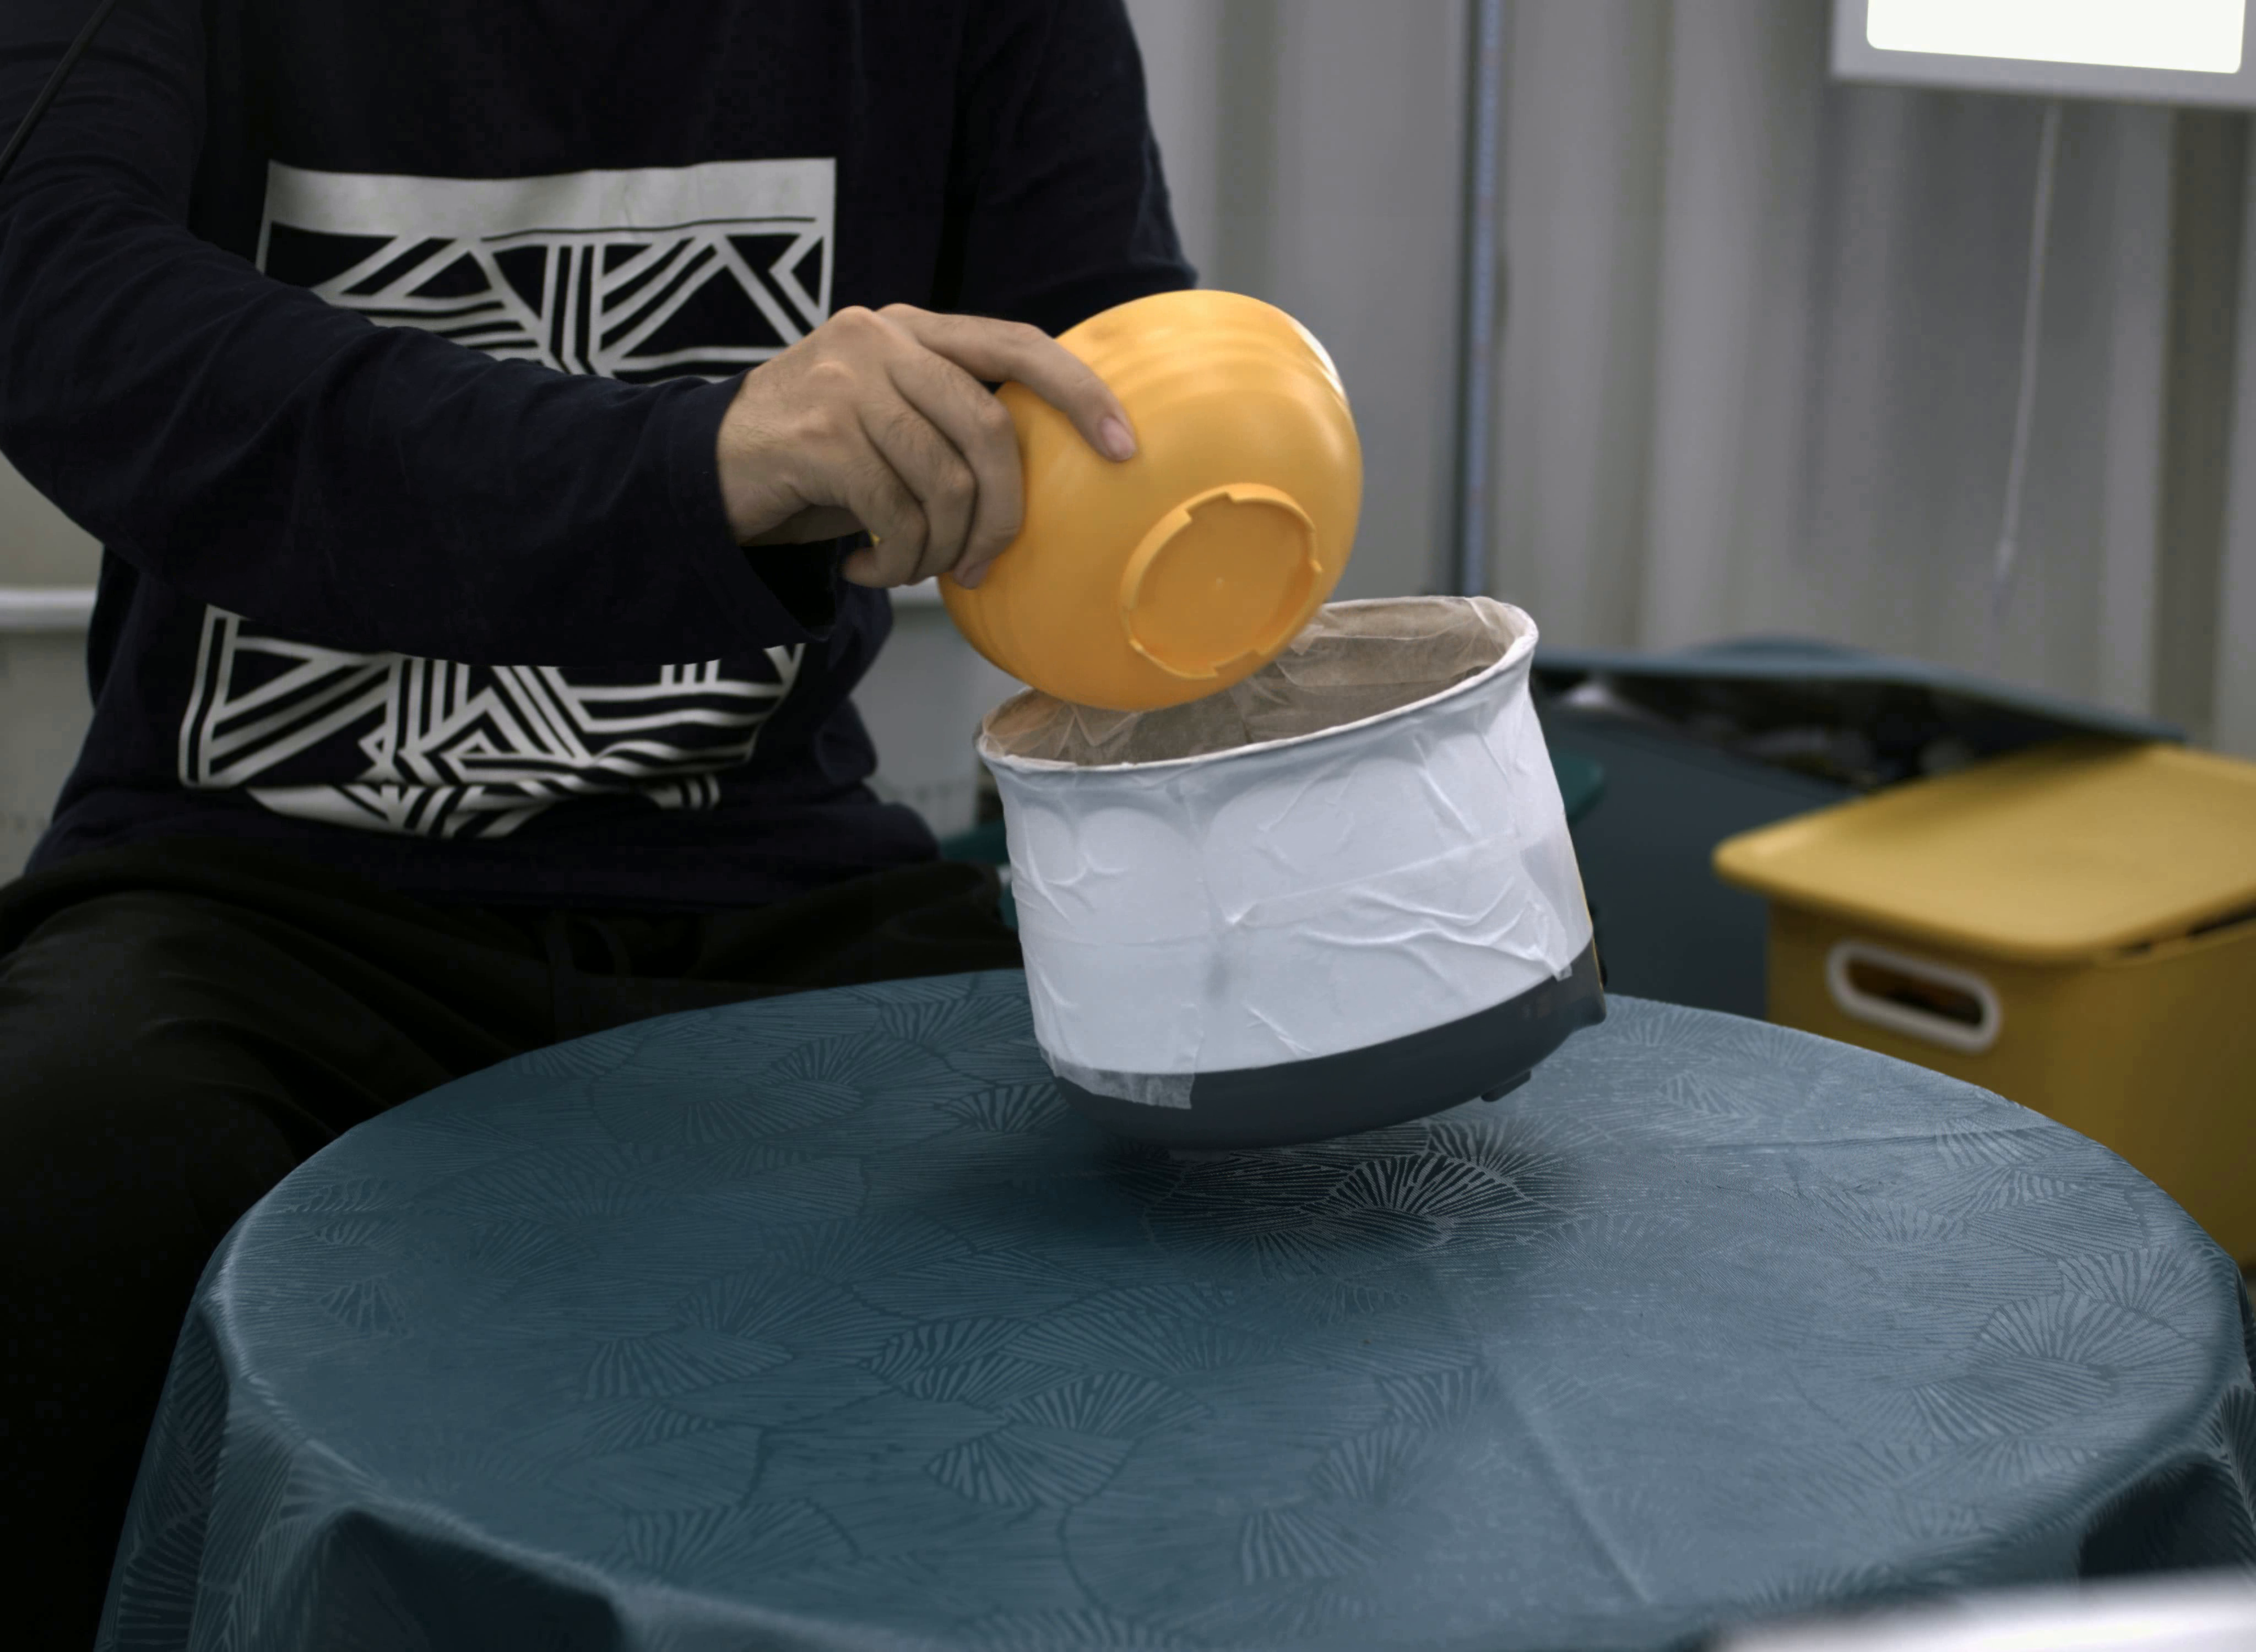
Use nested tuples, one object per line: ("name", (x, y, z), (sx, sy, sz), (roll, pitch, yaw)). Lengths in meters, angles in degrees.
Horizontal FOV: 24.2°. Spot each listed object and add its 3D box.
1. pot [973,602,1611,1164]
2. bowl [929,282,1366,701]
("pot", (0.049, 0.011, 1.652), (0.178, 0.137, 0.232), (-12, 13, -4))
("bowl", (0.016, -0.090, 1.616), (0.146, 0.147, 0.059), (-6, 39, -23))
